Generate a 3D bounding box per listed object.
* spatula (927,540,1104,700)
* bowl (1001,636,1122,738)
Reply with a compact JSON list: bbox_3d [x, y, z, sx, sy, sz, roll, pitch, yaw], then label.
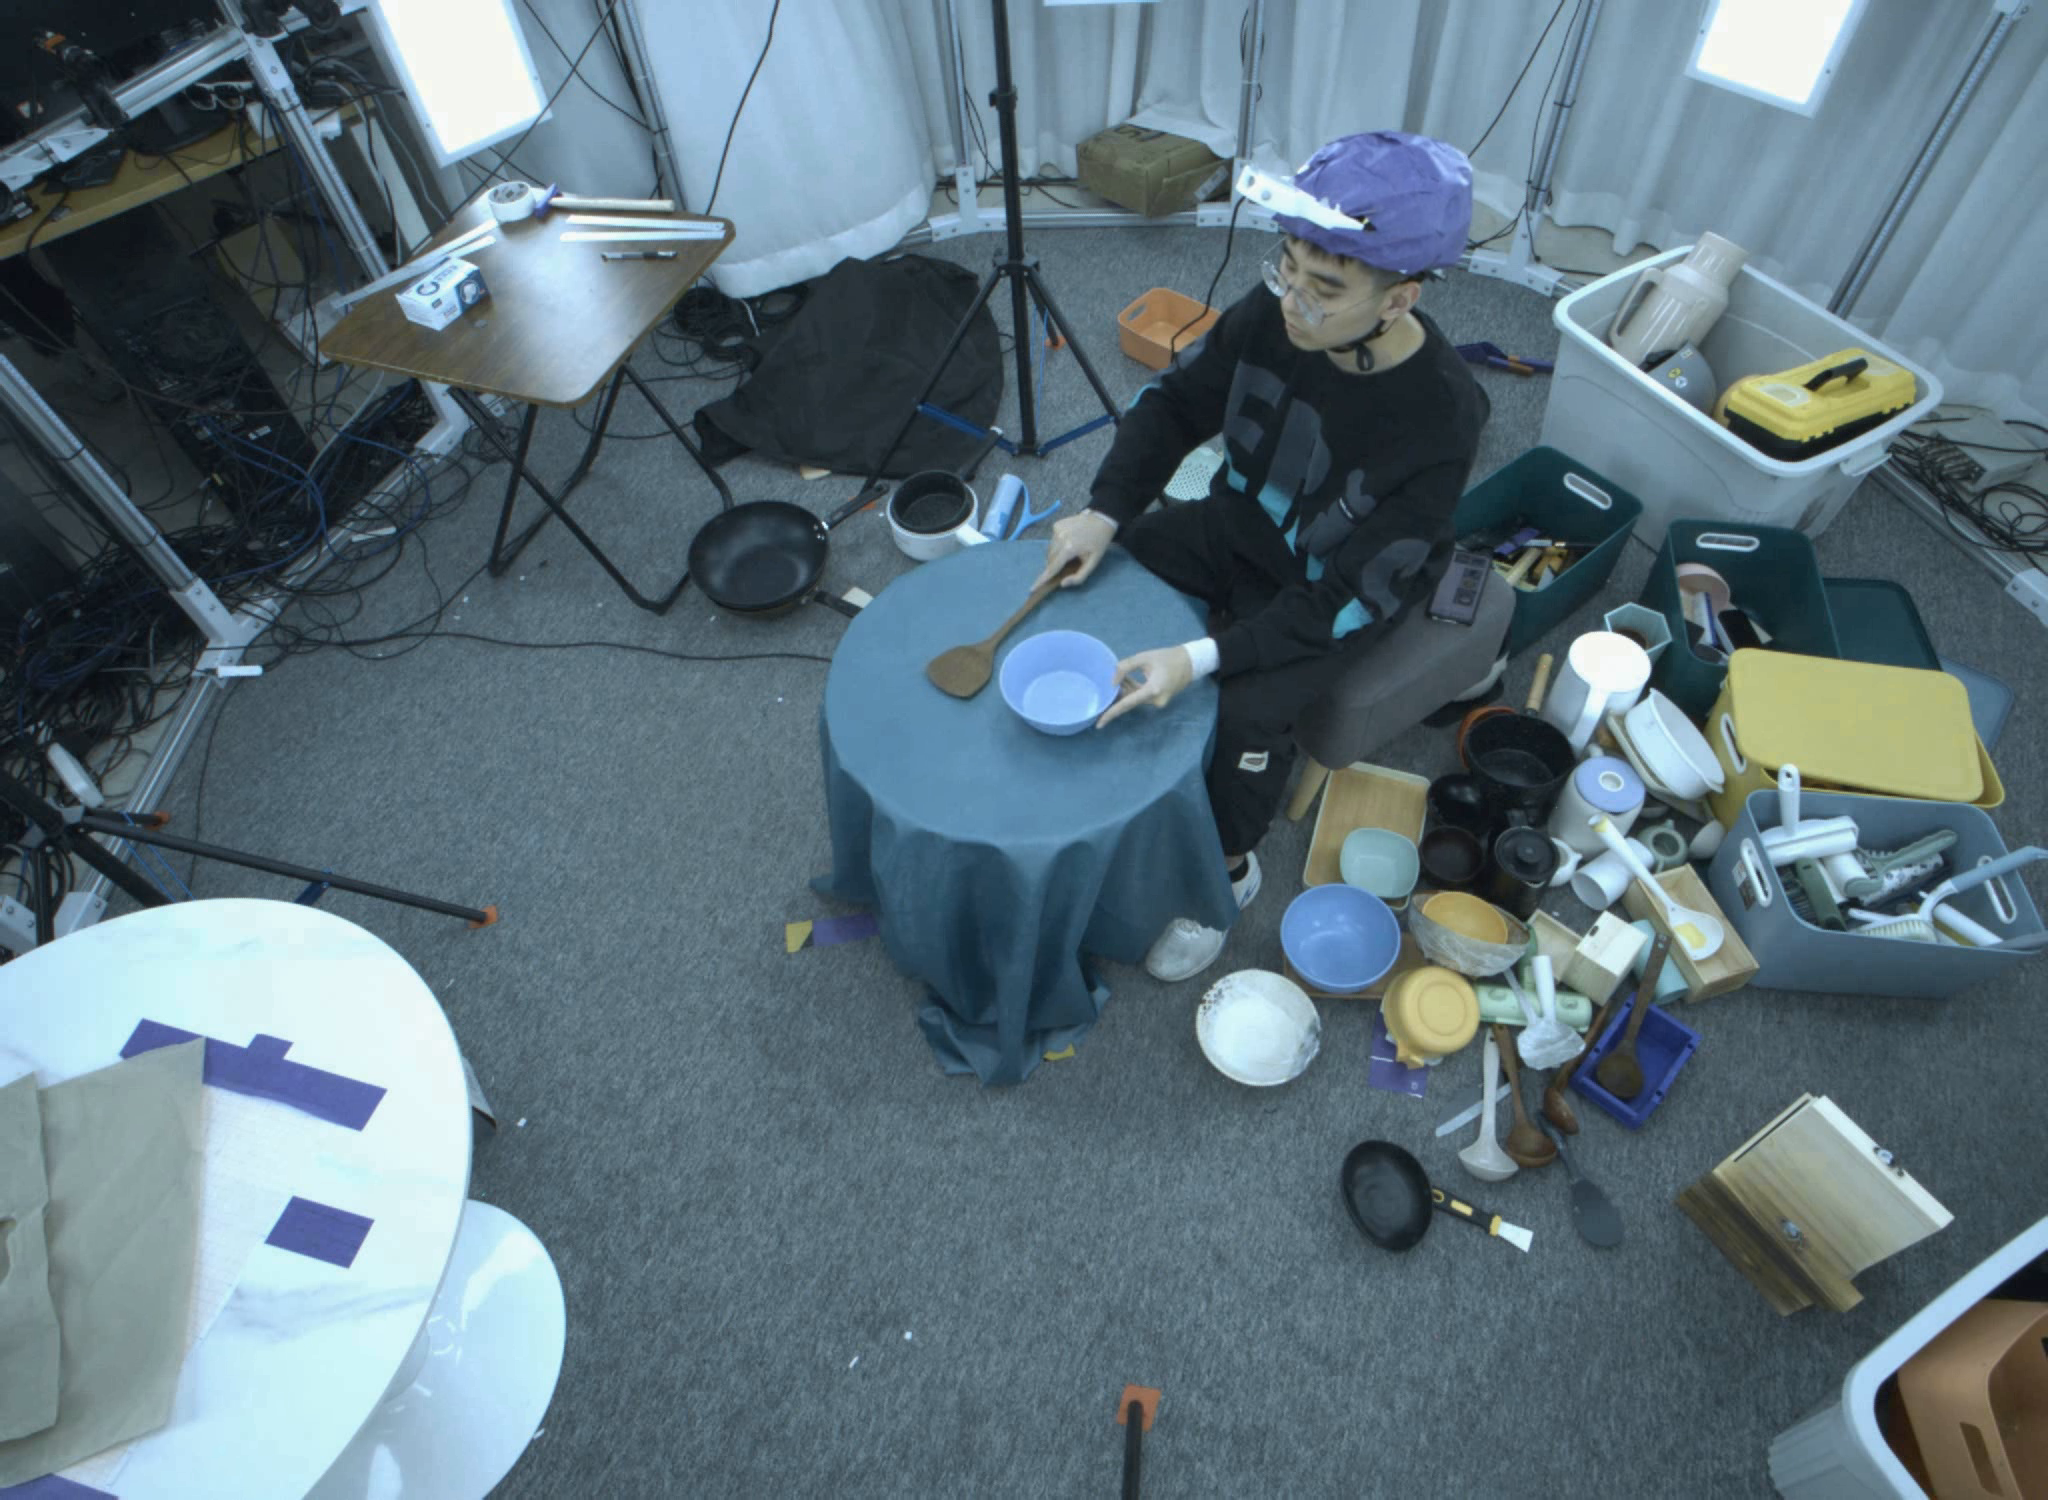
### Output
[{"bbox_3d":[0.001,-0.216,1.934,0.094,0.016,0.388,34,66,22],"label":"spatula"},{"bbox_3d":[0.055,-0.083,1.812,0.176,0.071,0.174,0,54,1],"label":"bowl"}]
